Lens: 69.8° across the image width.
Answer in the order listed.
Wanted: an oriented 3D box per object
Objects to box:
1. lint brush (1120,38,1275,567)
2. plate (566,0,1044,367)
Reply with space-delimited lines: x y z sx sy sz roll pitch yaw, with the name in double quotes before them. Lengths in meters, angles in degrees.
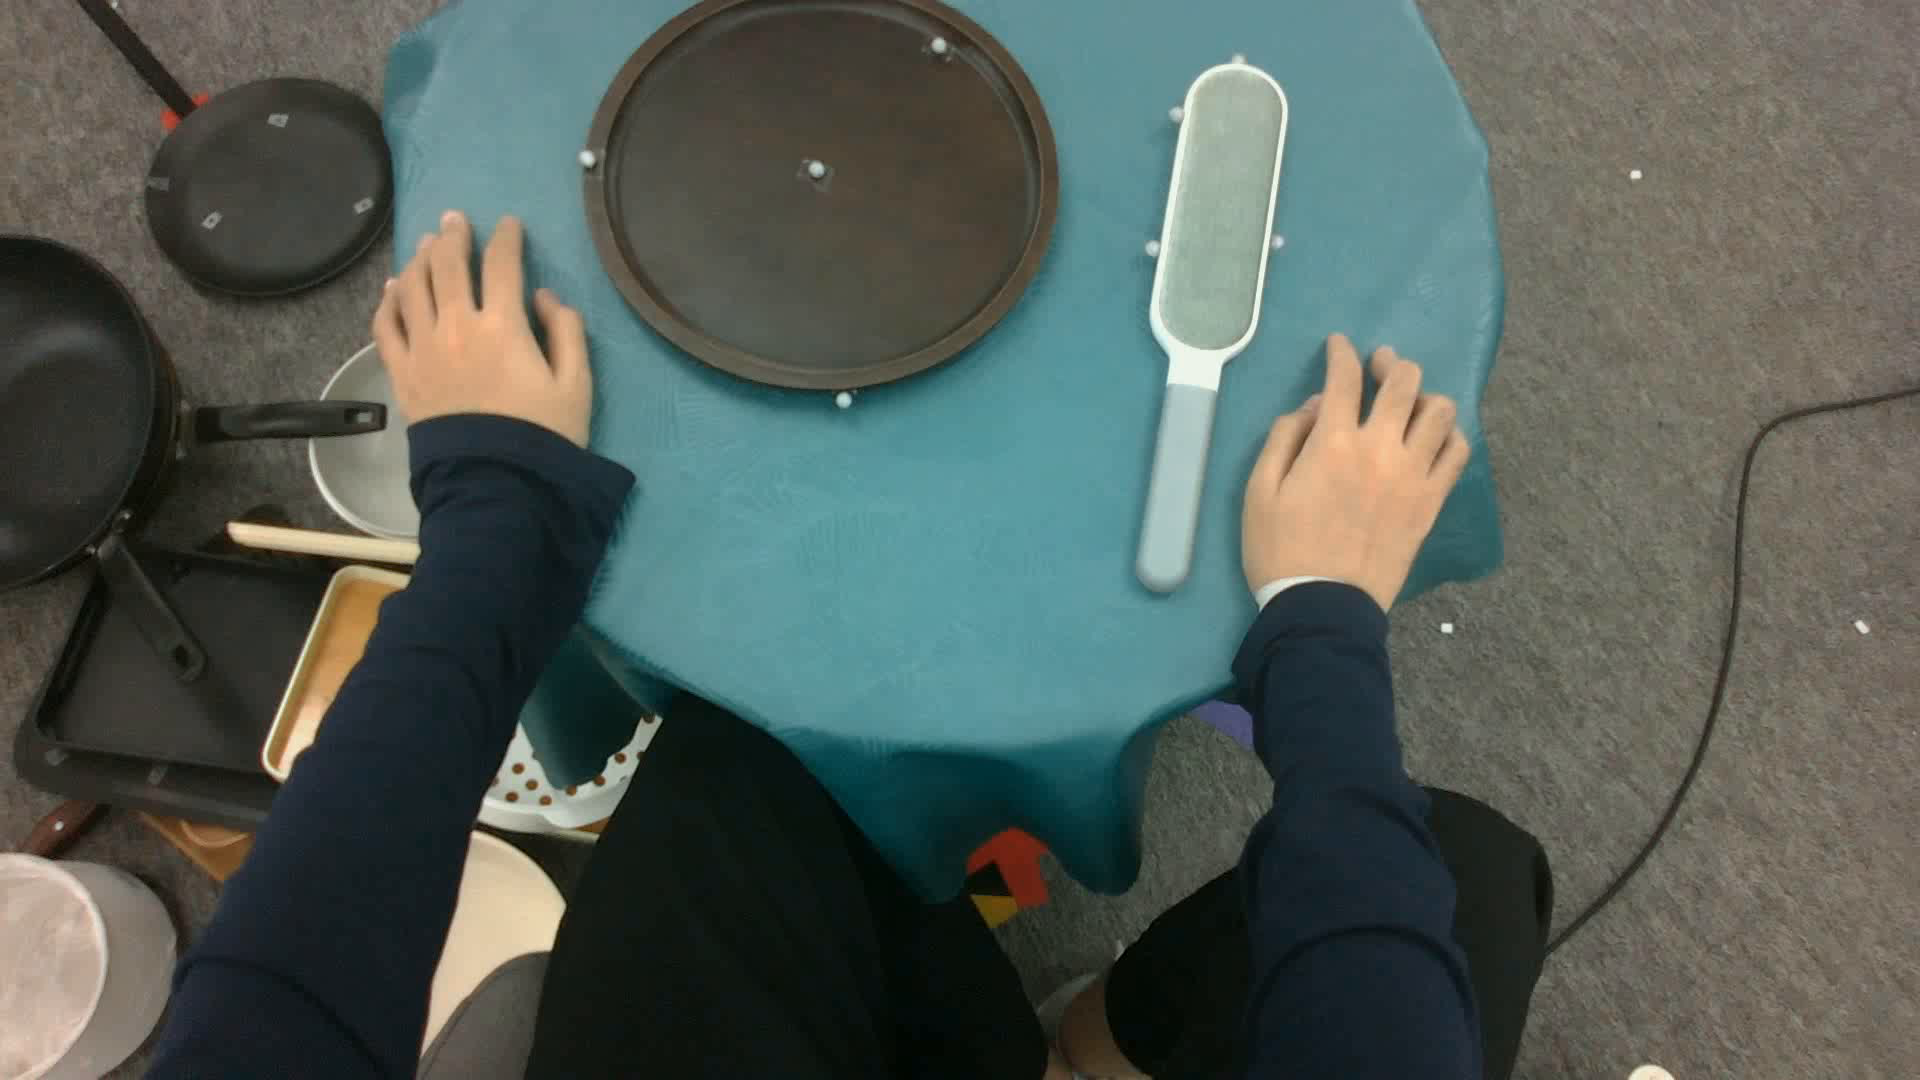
"lint brush" 0.120 -0.133 0.724 0.060 0.021 0.310 13 73 -4
"plate" -0.081 -0.208 0.737 0.255 0.029 0.255 0 73 -1
